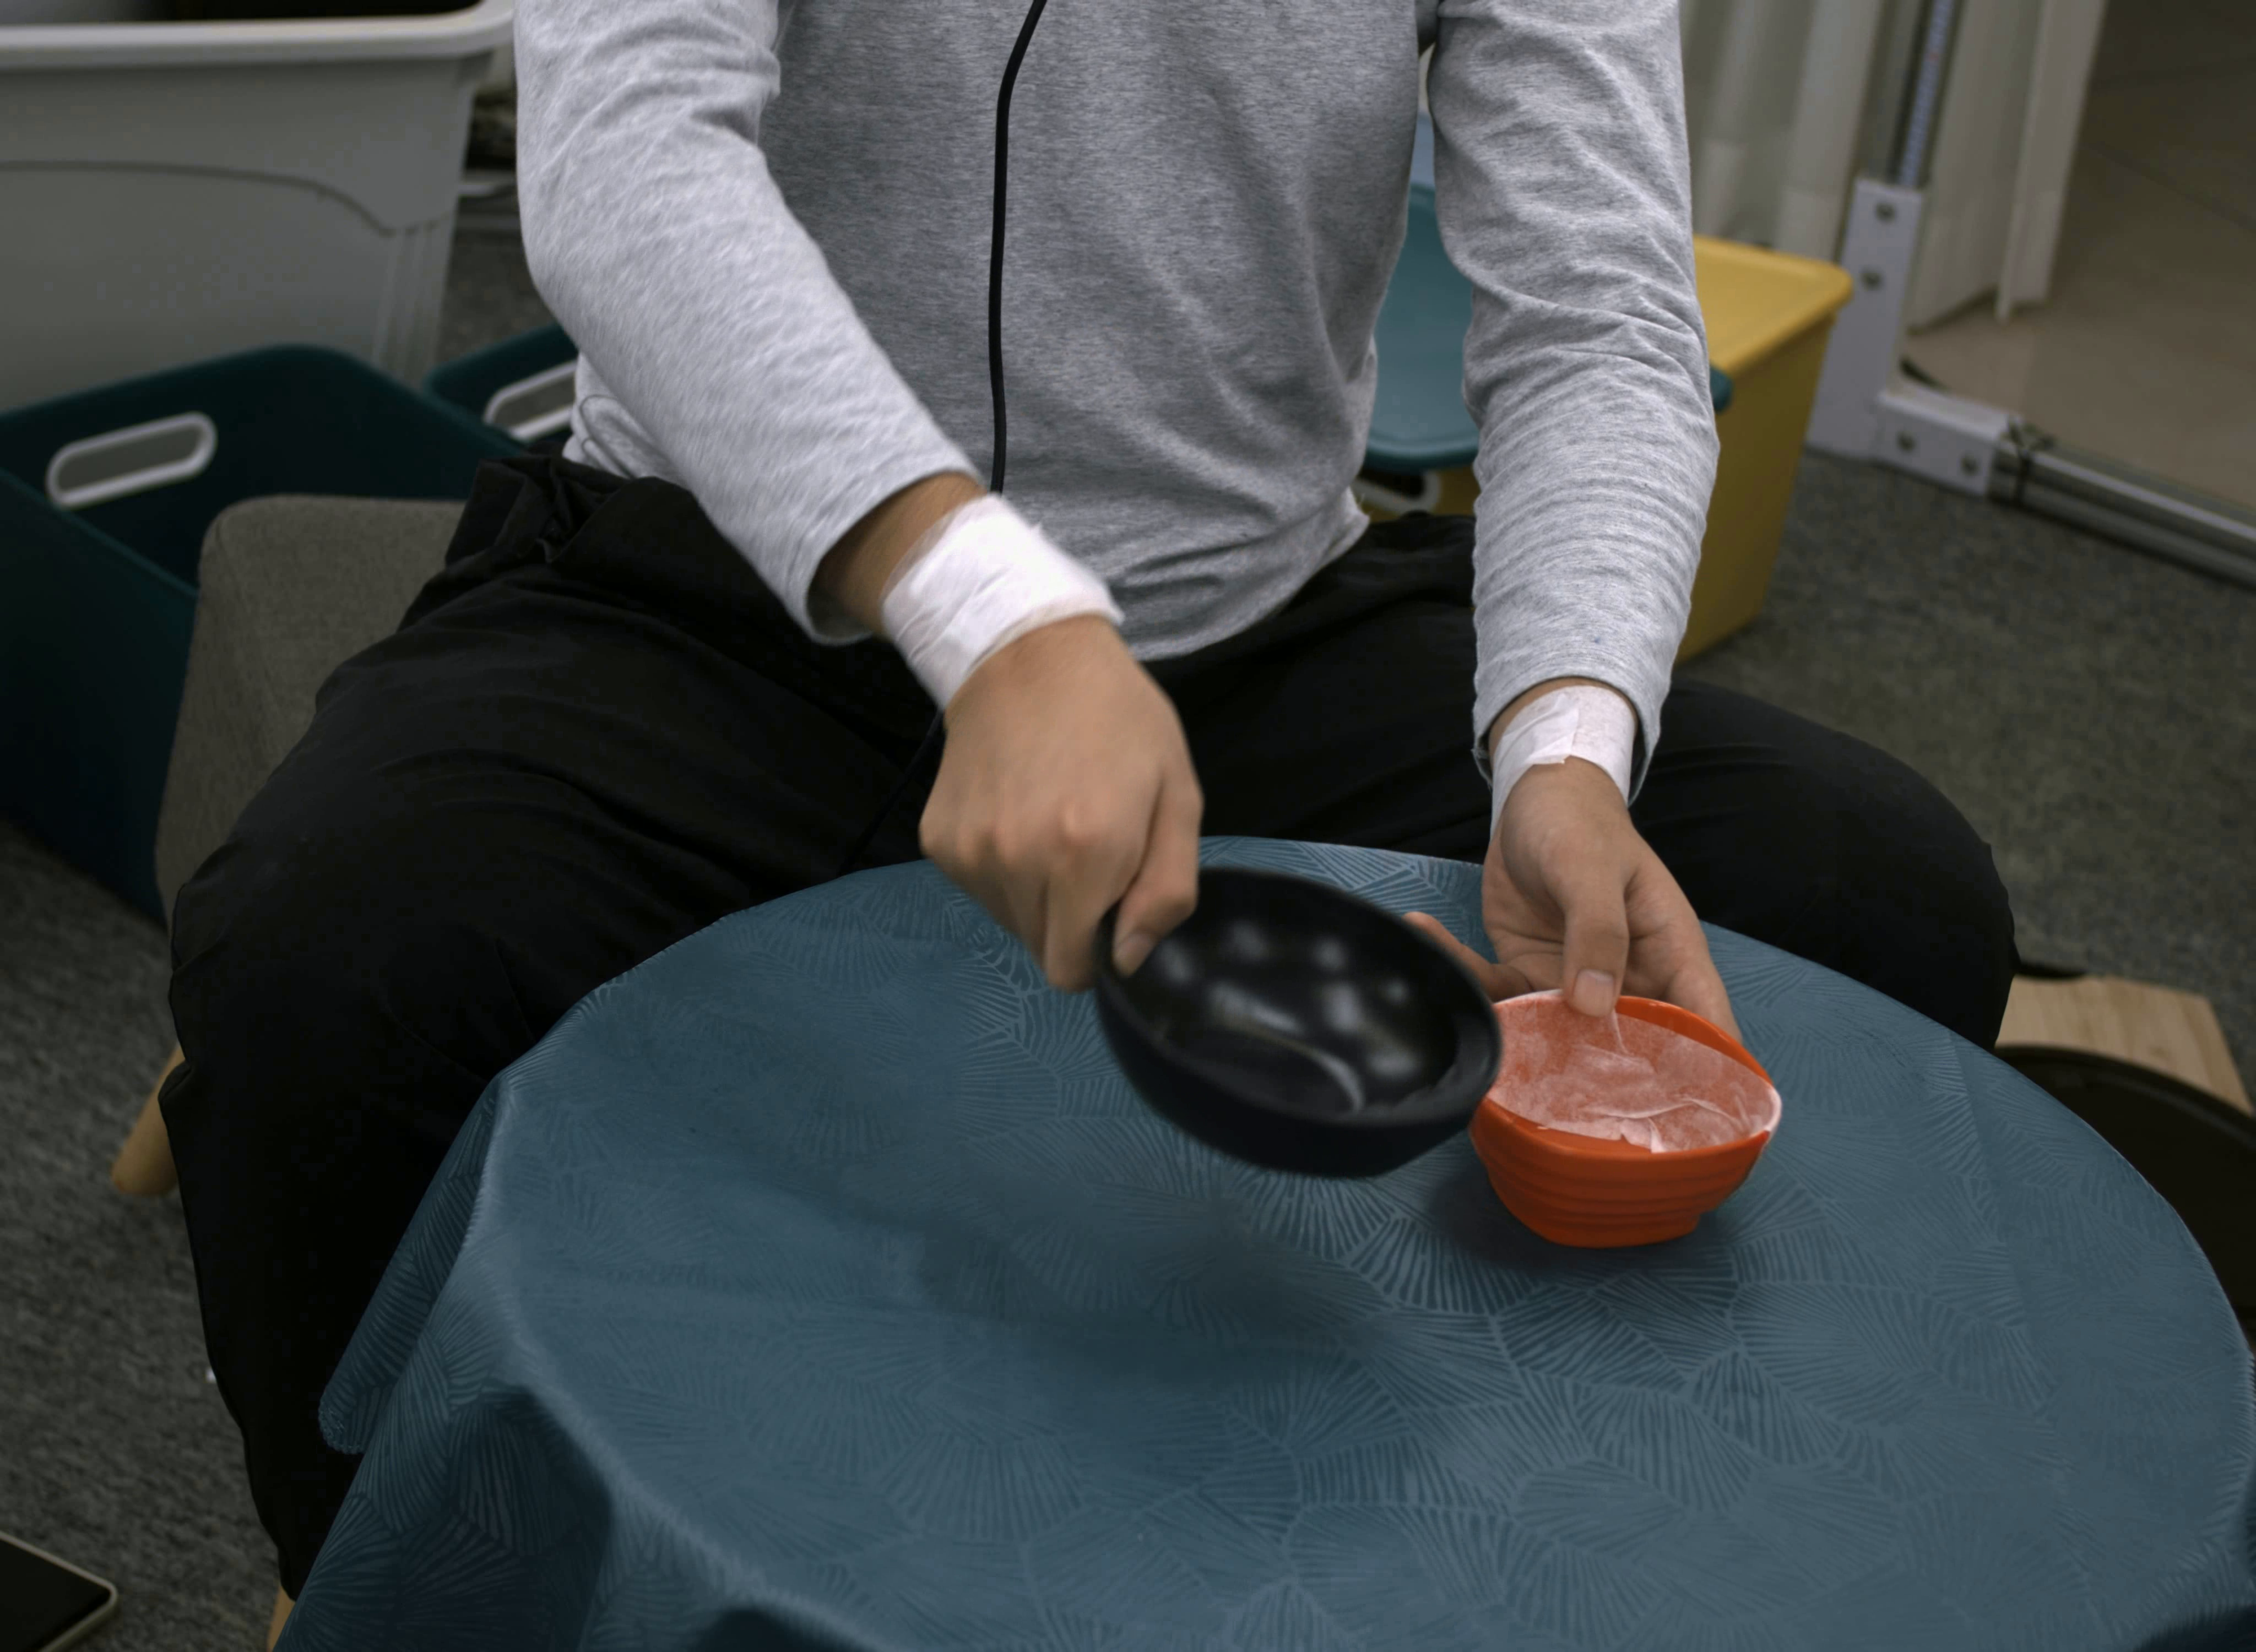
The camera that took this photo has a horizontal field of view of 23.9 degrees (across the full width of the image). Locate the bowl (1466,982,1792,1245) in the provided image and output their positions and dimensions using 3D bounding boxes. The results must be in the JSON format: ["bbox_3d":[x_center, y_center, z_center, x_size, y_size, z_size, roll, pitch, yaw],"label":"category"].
[{"bbox_3d":[0.166,0.103,1.821,0.118,0.051,0.120,5,30,-3],"label":"bowl"}]

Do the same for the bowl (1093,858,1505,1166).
[{"bbox_3d":[0.050,0.069,1.730,0.139,0.049,0.141,15,29,-9],"label":"bowl"}]
